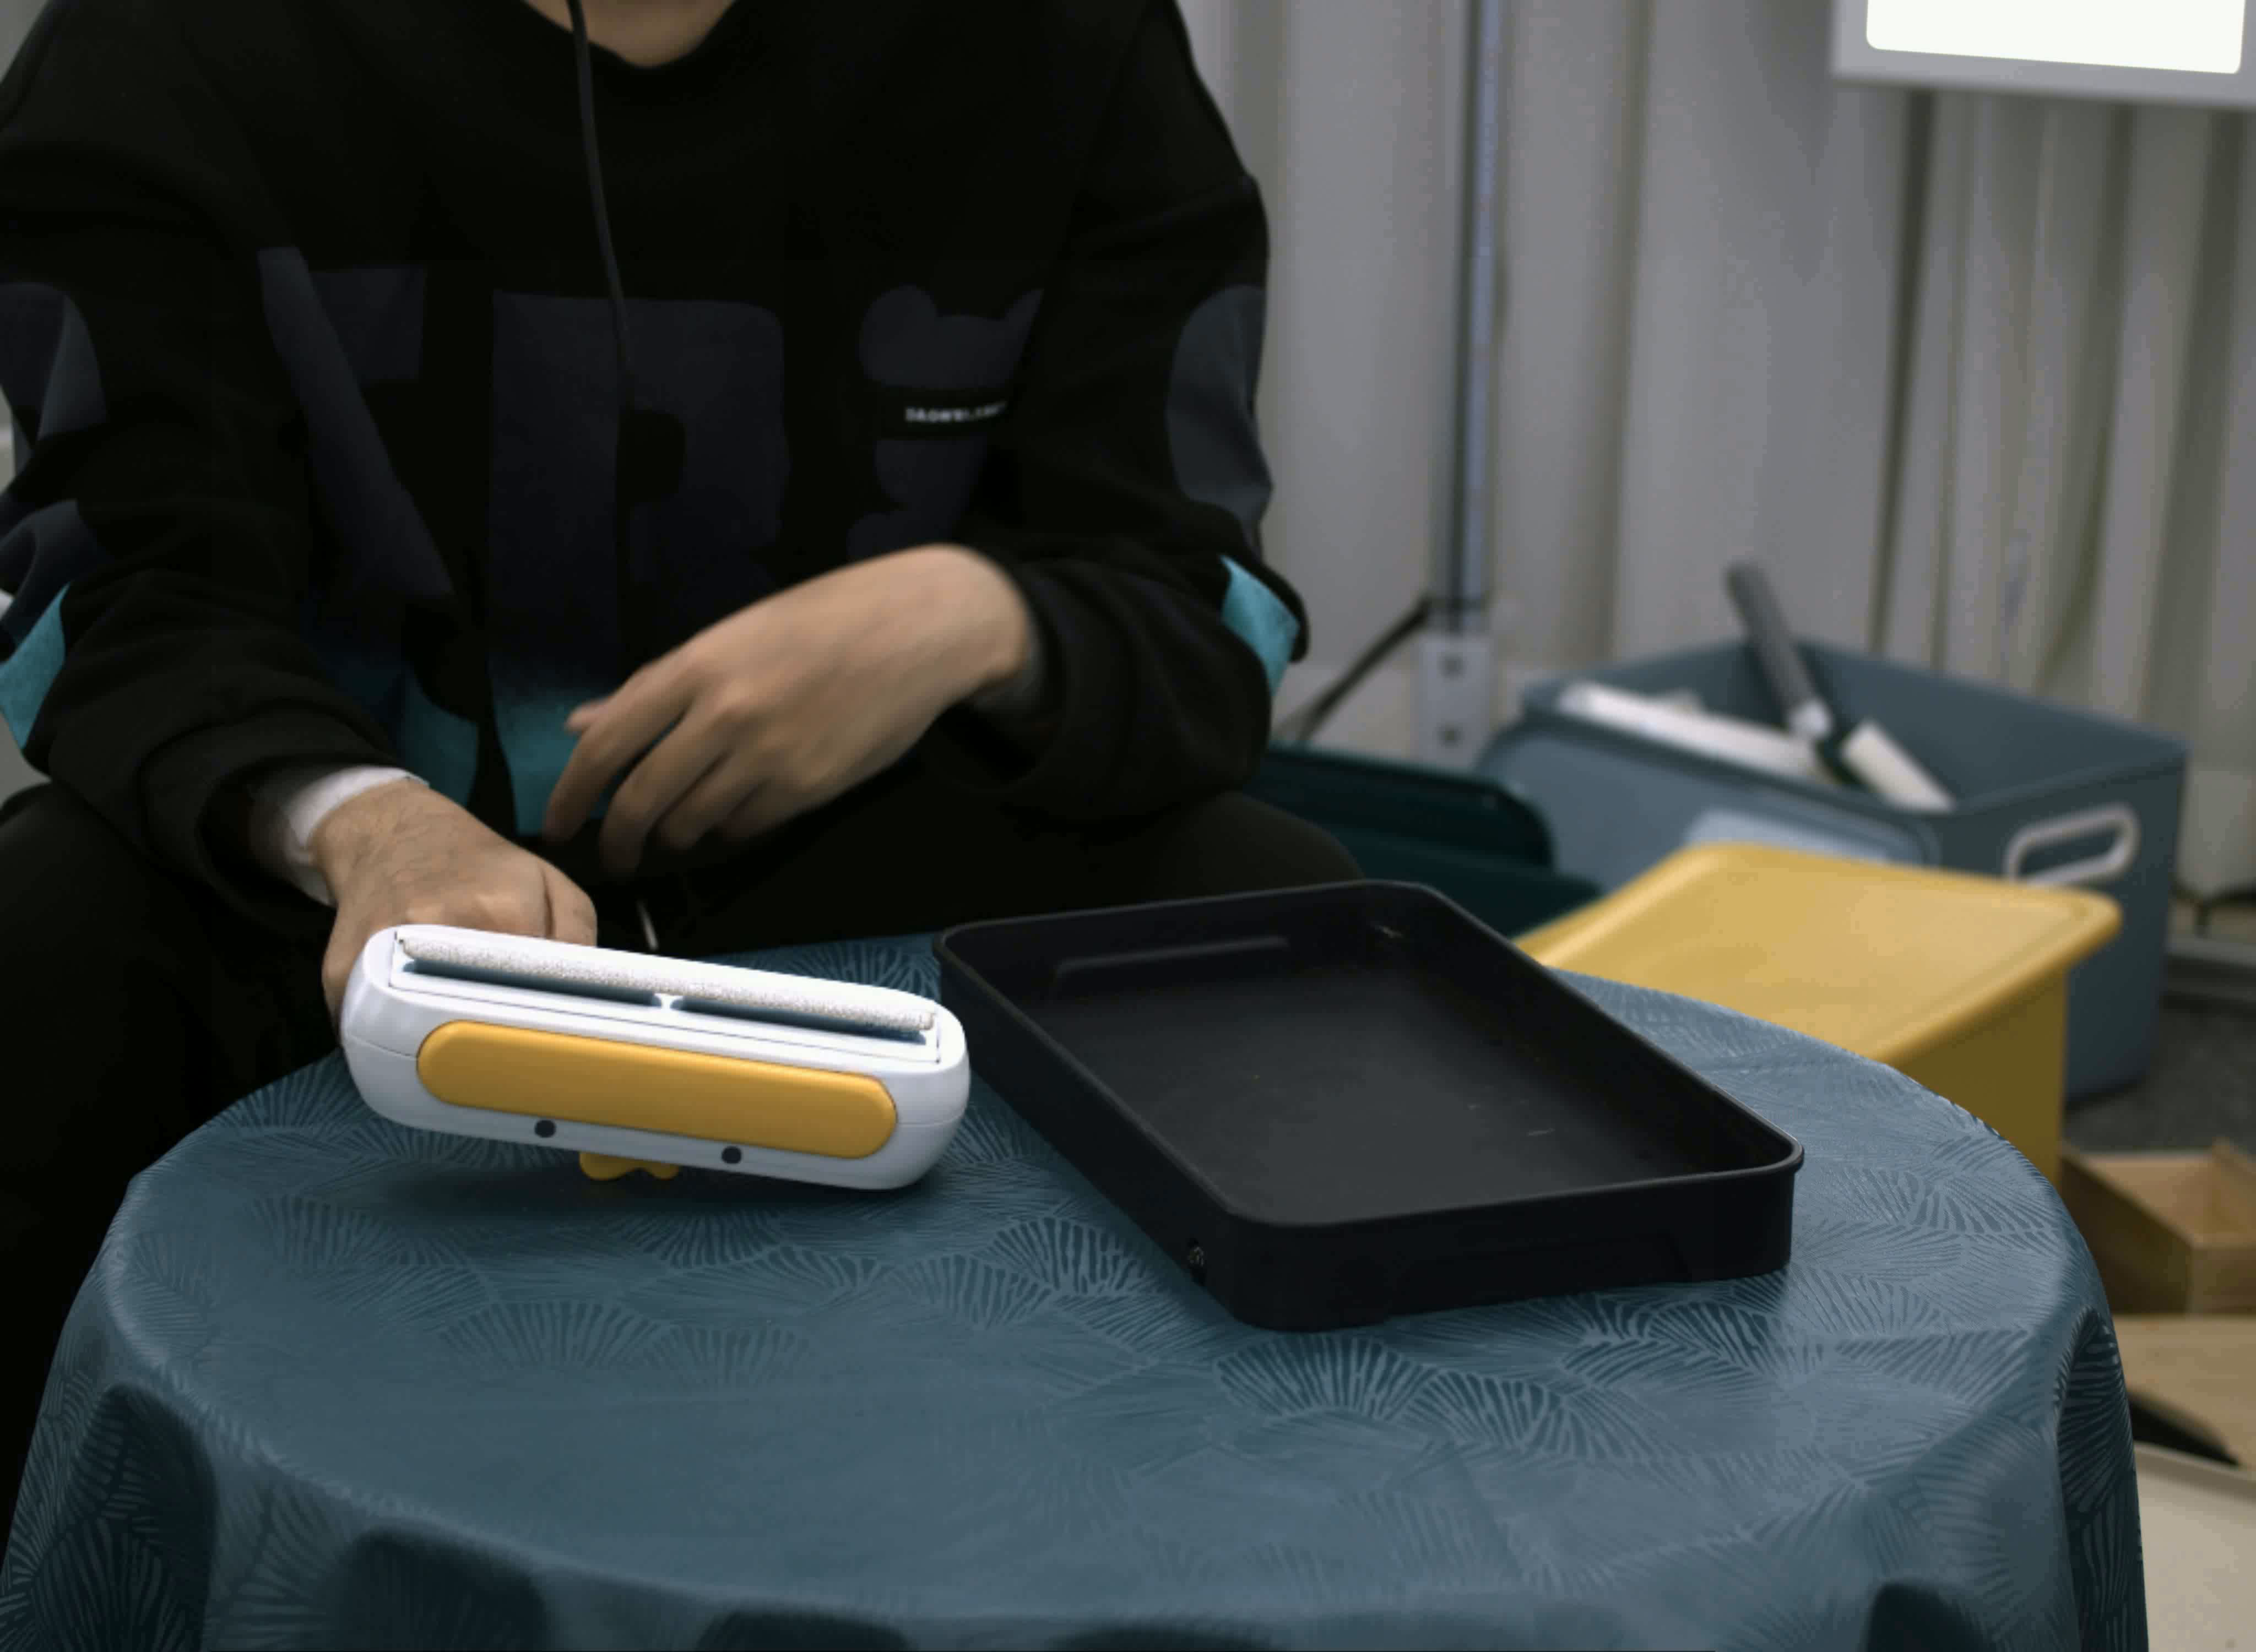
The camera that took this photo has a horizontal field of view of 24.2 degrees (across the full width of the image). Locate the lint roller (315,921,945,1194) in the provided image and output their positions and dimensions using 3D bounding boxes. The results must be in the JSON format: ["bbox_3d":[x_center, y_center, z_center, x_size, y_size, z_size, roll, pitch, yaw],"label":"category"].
[{"bbox_3d":[-0.154,0.063,1.667,0.192,0.075,0.191,5,14,-4],"label":"lint roller"}]

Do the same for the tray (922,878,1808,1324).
[{"bbox_3d":[0.067,0.081,1.667,0.185,0.037,0.314,-6,17,-21],"label":"tray"}]
